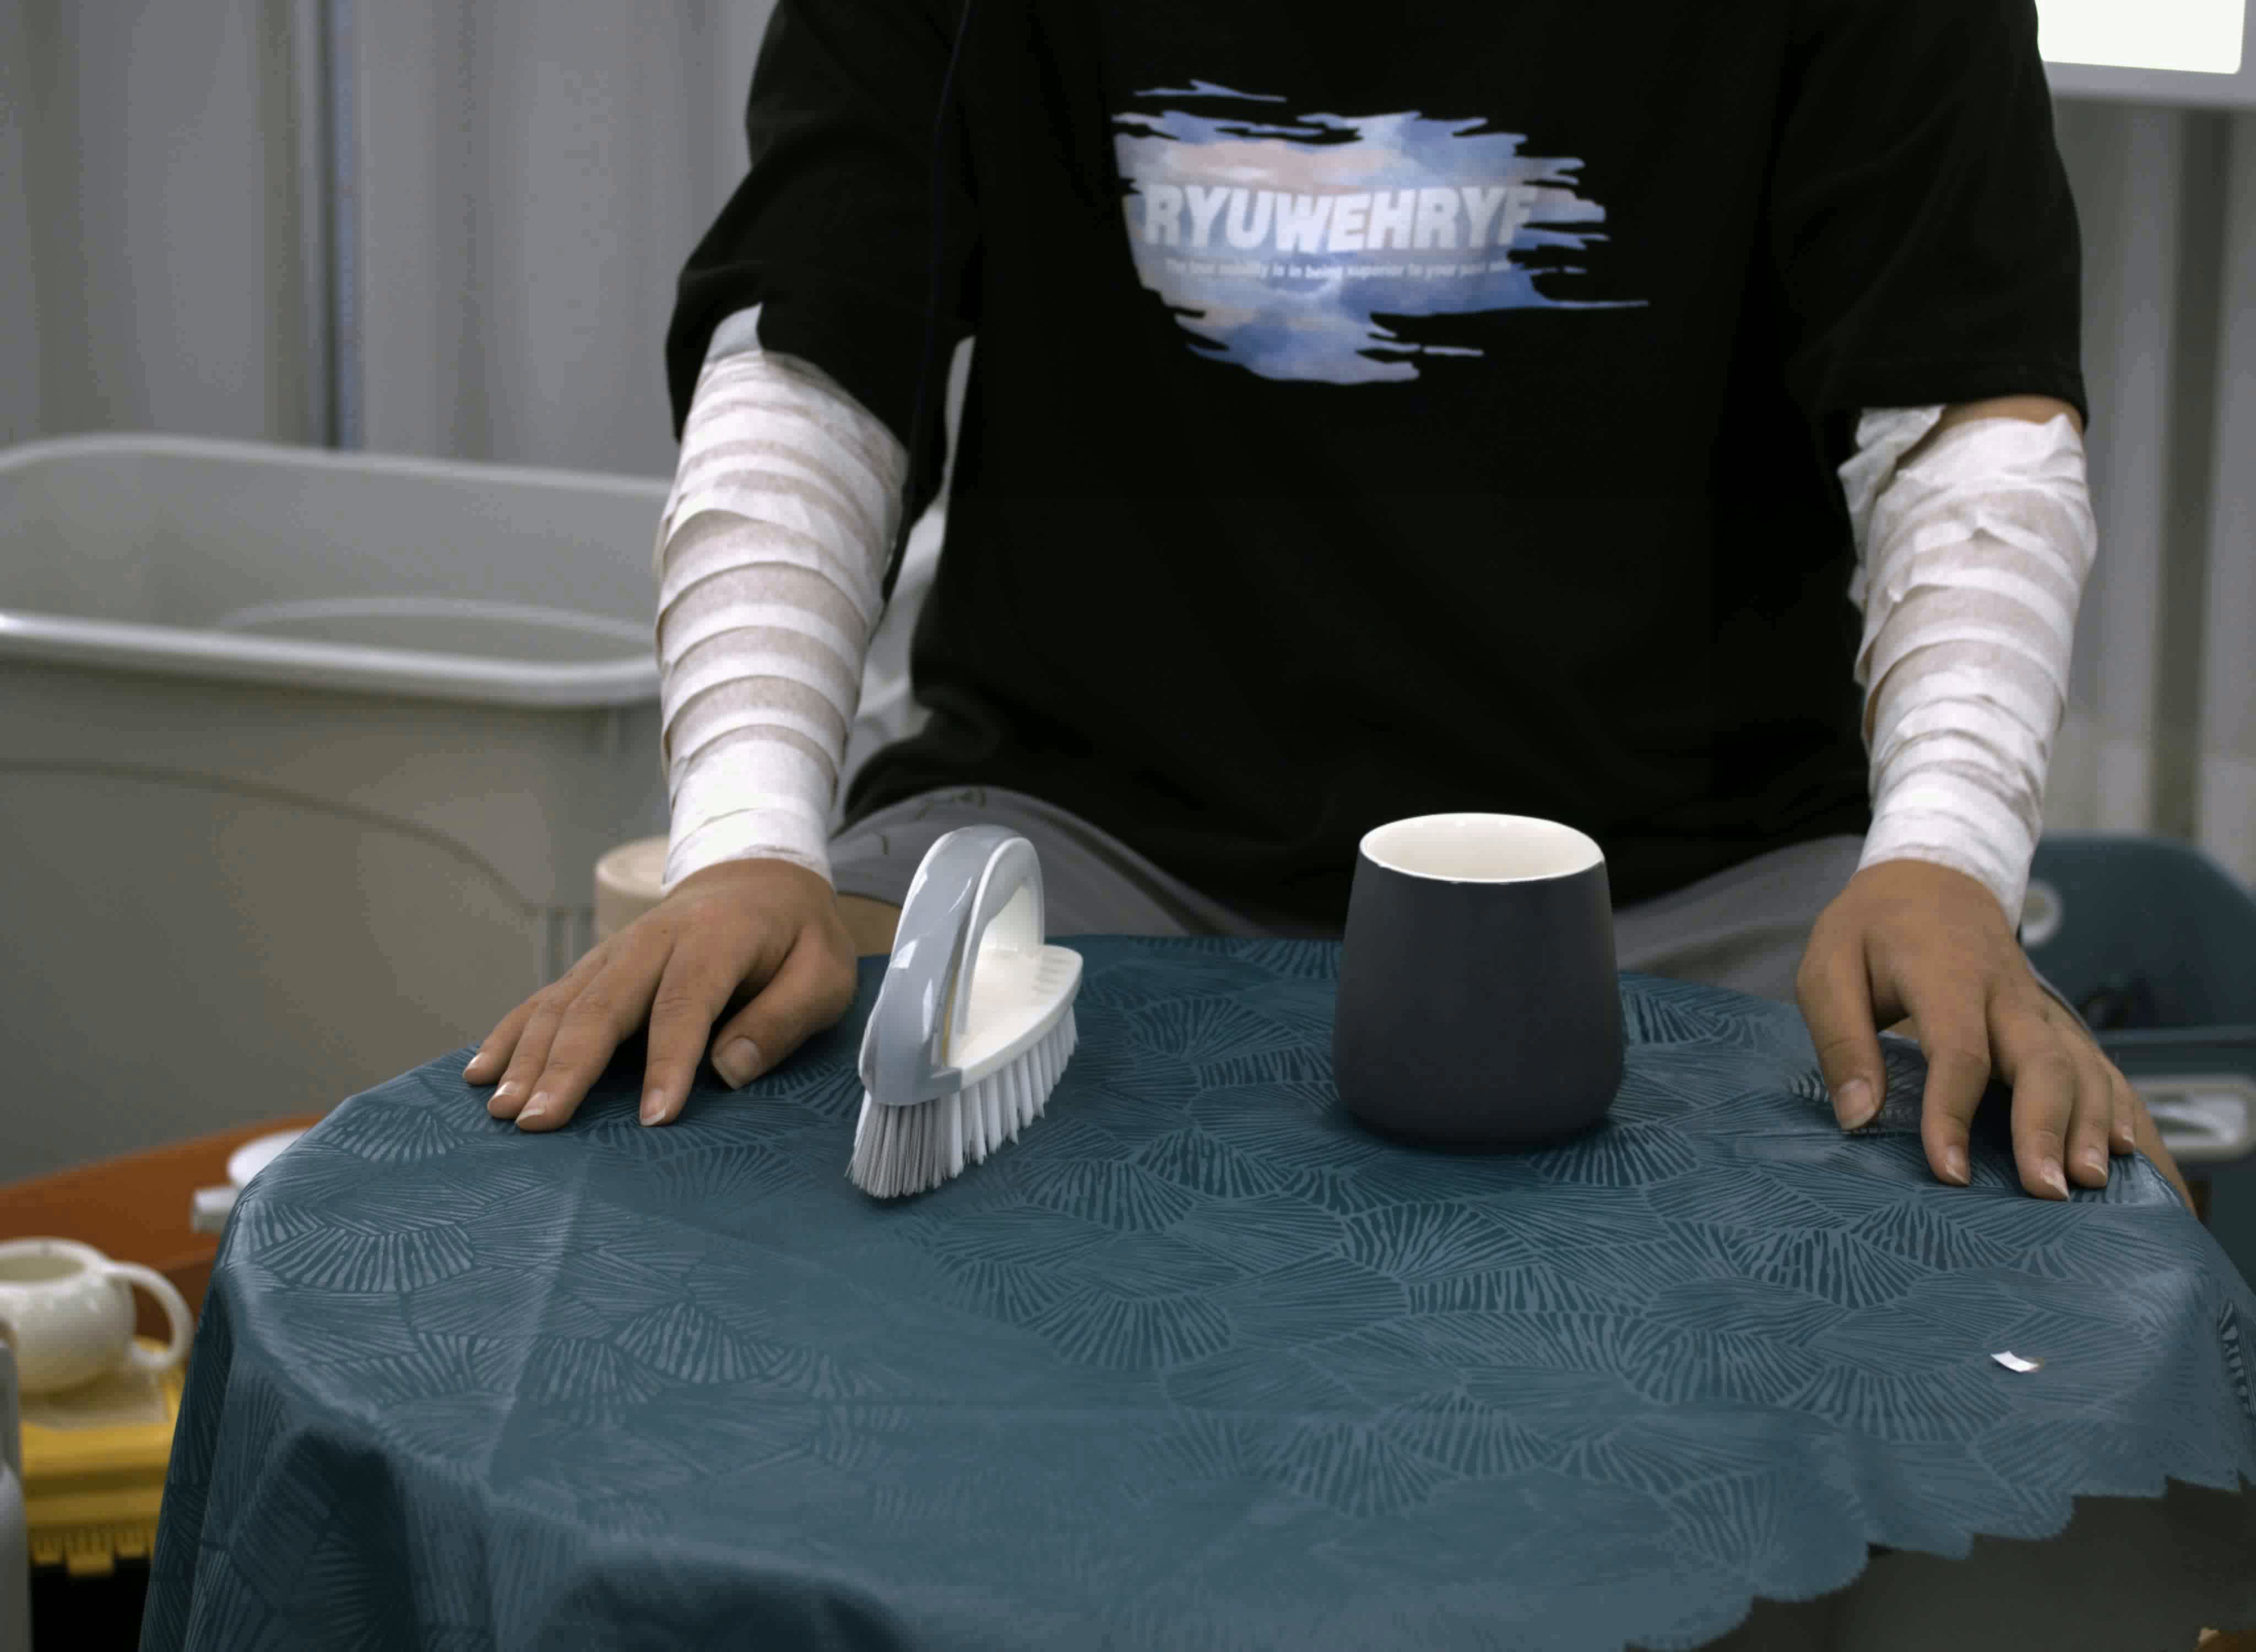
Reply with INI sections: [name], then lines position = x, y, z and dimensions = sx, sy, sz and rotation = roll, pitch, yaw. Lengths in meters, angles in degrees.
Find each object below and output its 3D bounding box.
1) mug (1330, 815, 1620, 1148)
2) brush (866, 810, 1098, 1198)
[mug]
position = 0.110, 0.046, 1.701
dimensions = 0.093, 0.090, 0.122
rotation = -1, 16, -7
[brush]
position = -0.053, 0.051, 1.674
dimensions = 0.061, 0.095, 0.175
rotation = 2, 17, 13
